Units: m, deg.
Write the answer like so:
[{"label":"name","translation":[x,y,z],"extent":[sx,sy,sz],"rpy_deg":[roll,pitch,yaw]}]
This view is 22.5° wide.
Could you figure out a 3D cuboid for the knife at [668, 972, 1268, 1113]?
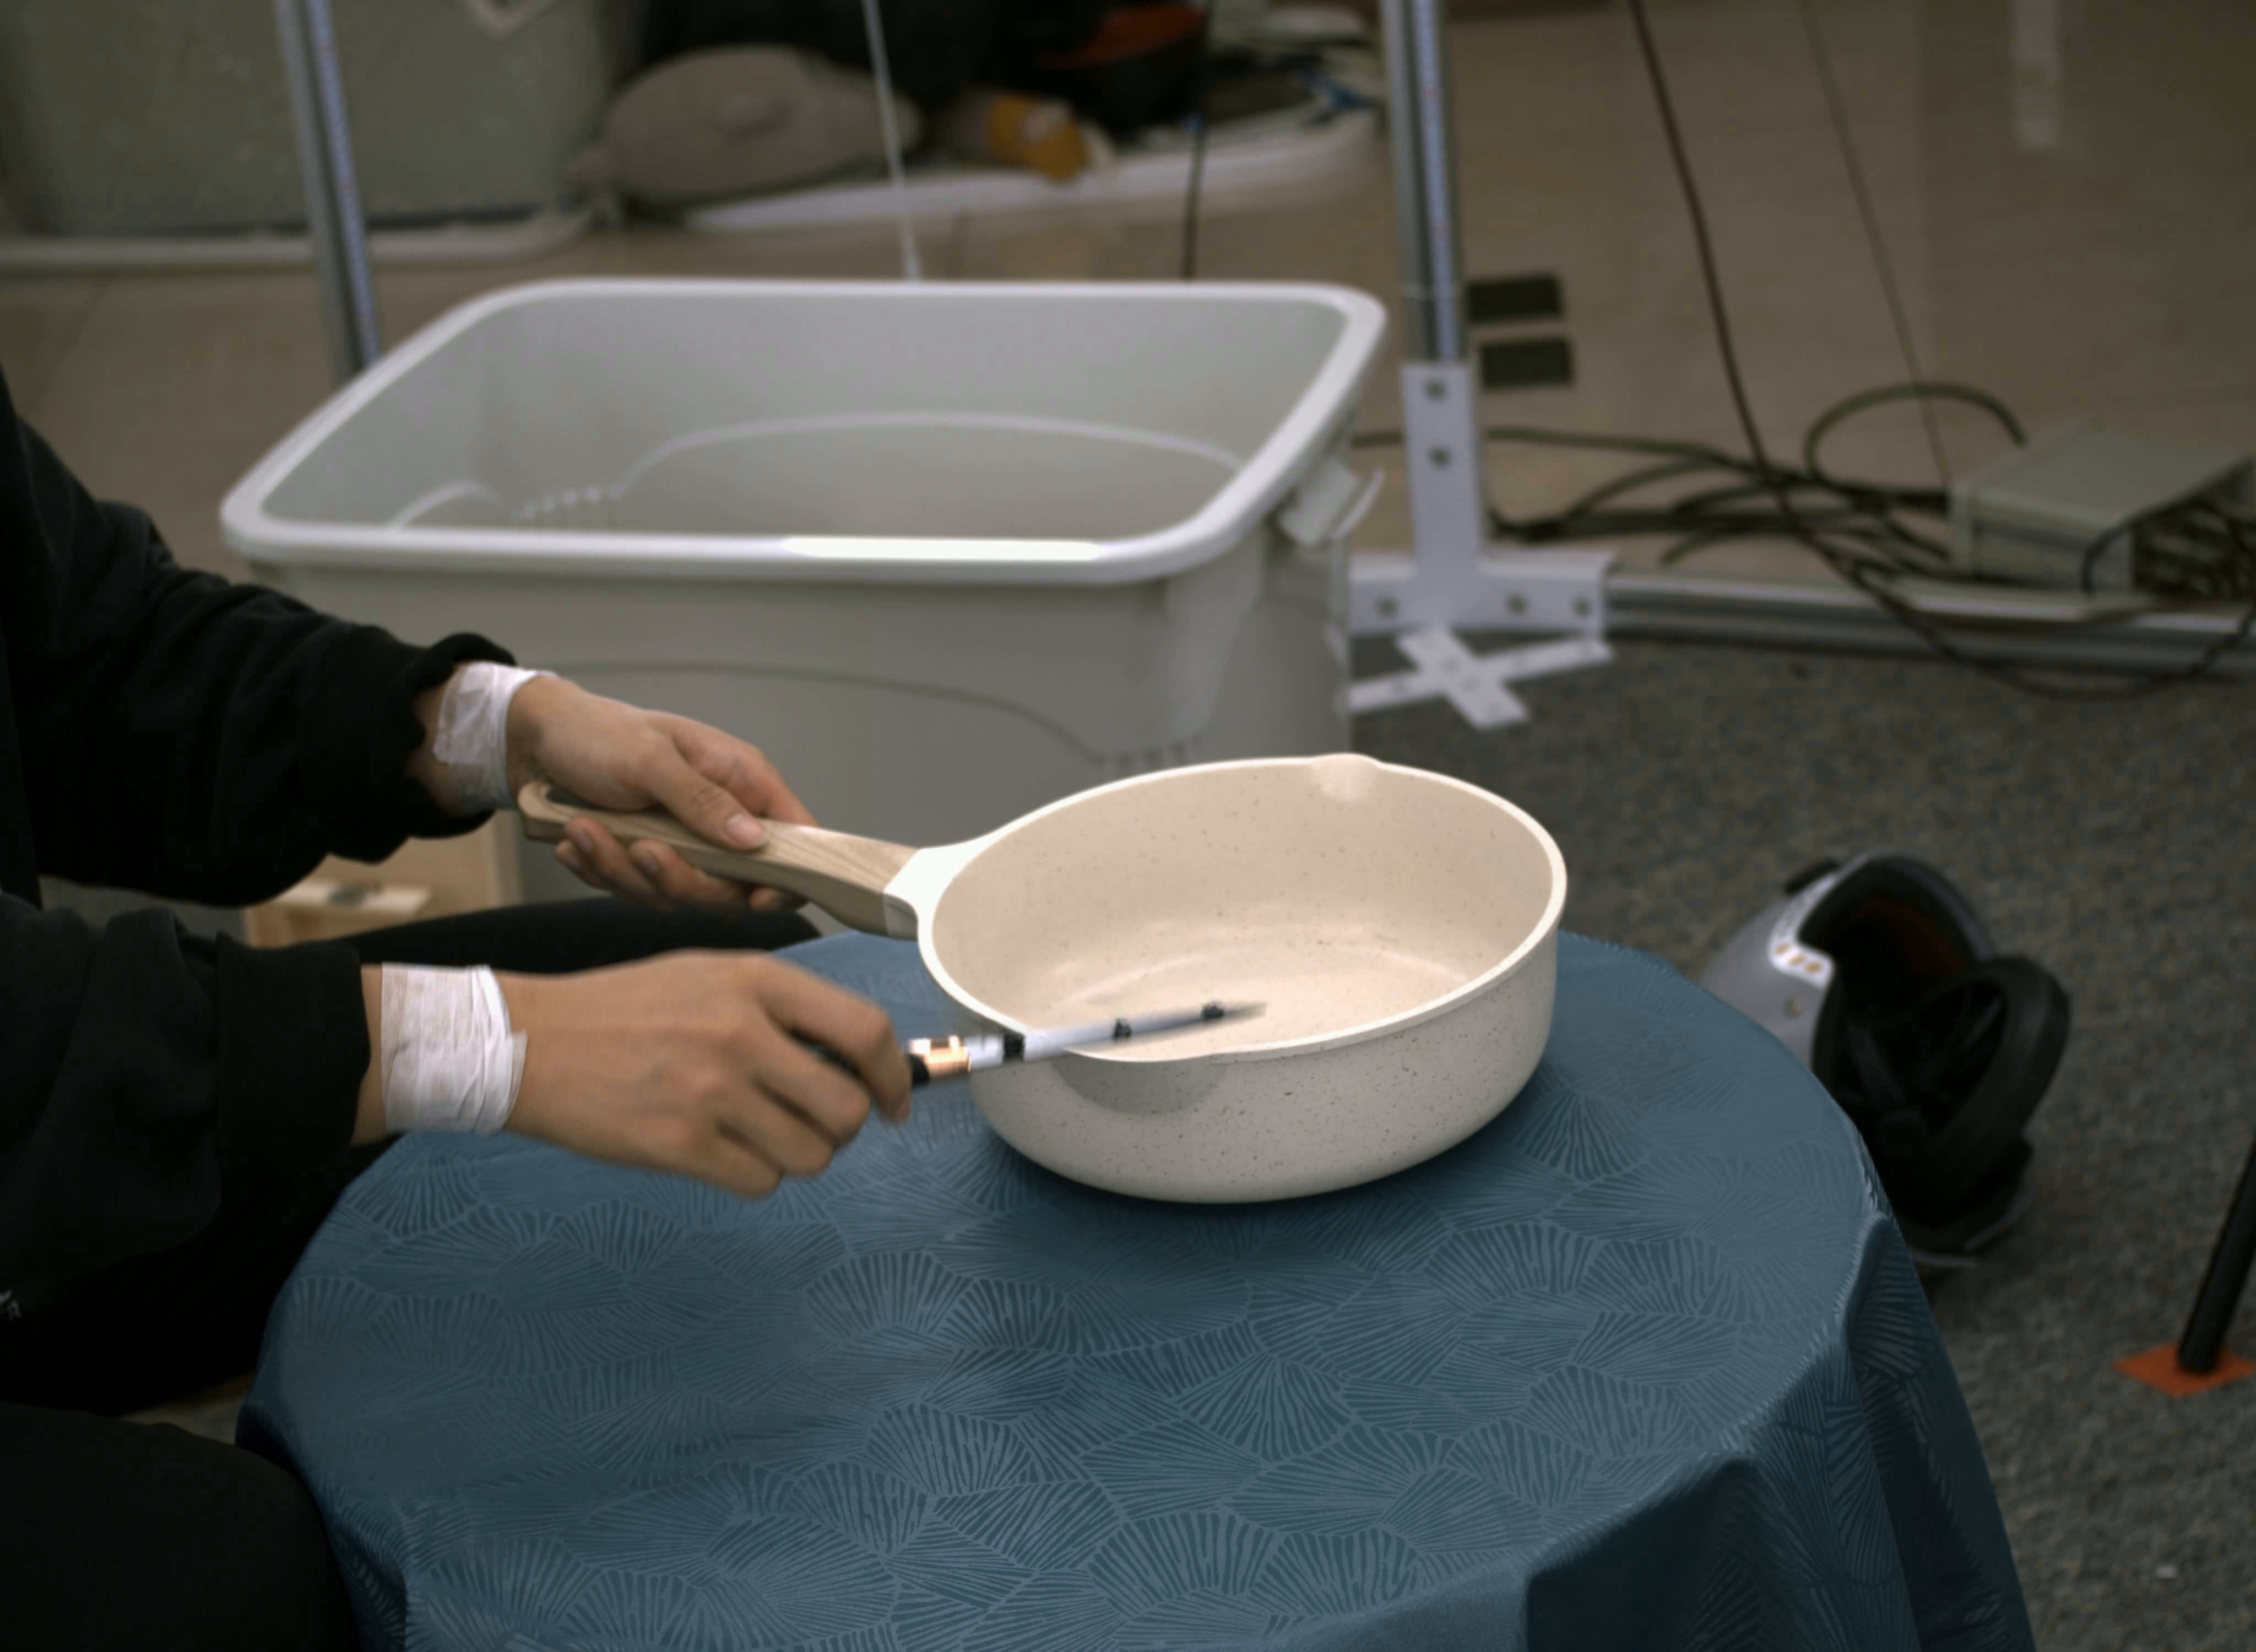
[{"label":"knife","translation":[-0.056,0.076,2.034],"extent":[0.225,0.017,0.026],"rpy_deg":[-10,12,-12]}]

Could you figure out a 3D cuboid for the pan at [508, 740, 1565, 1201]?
[{"label":"pan","translation":[-0.039,0.048,2.230],"extent":[0.433,0.104,0.259],"rpy_deg":[4,30,21]}]
